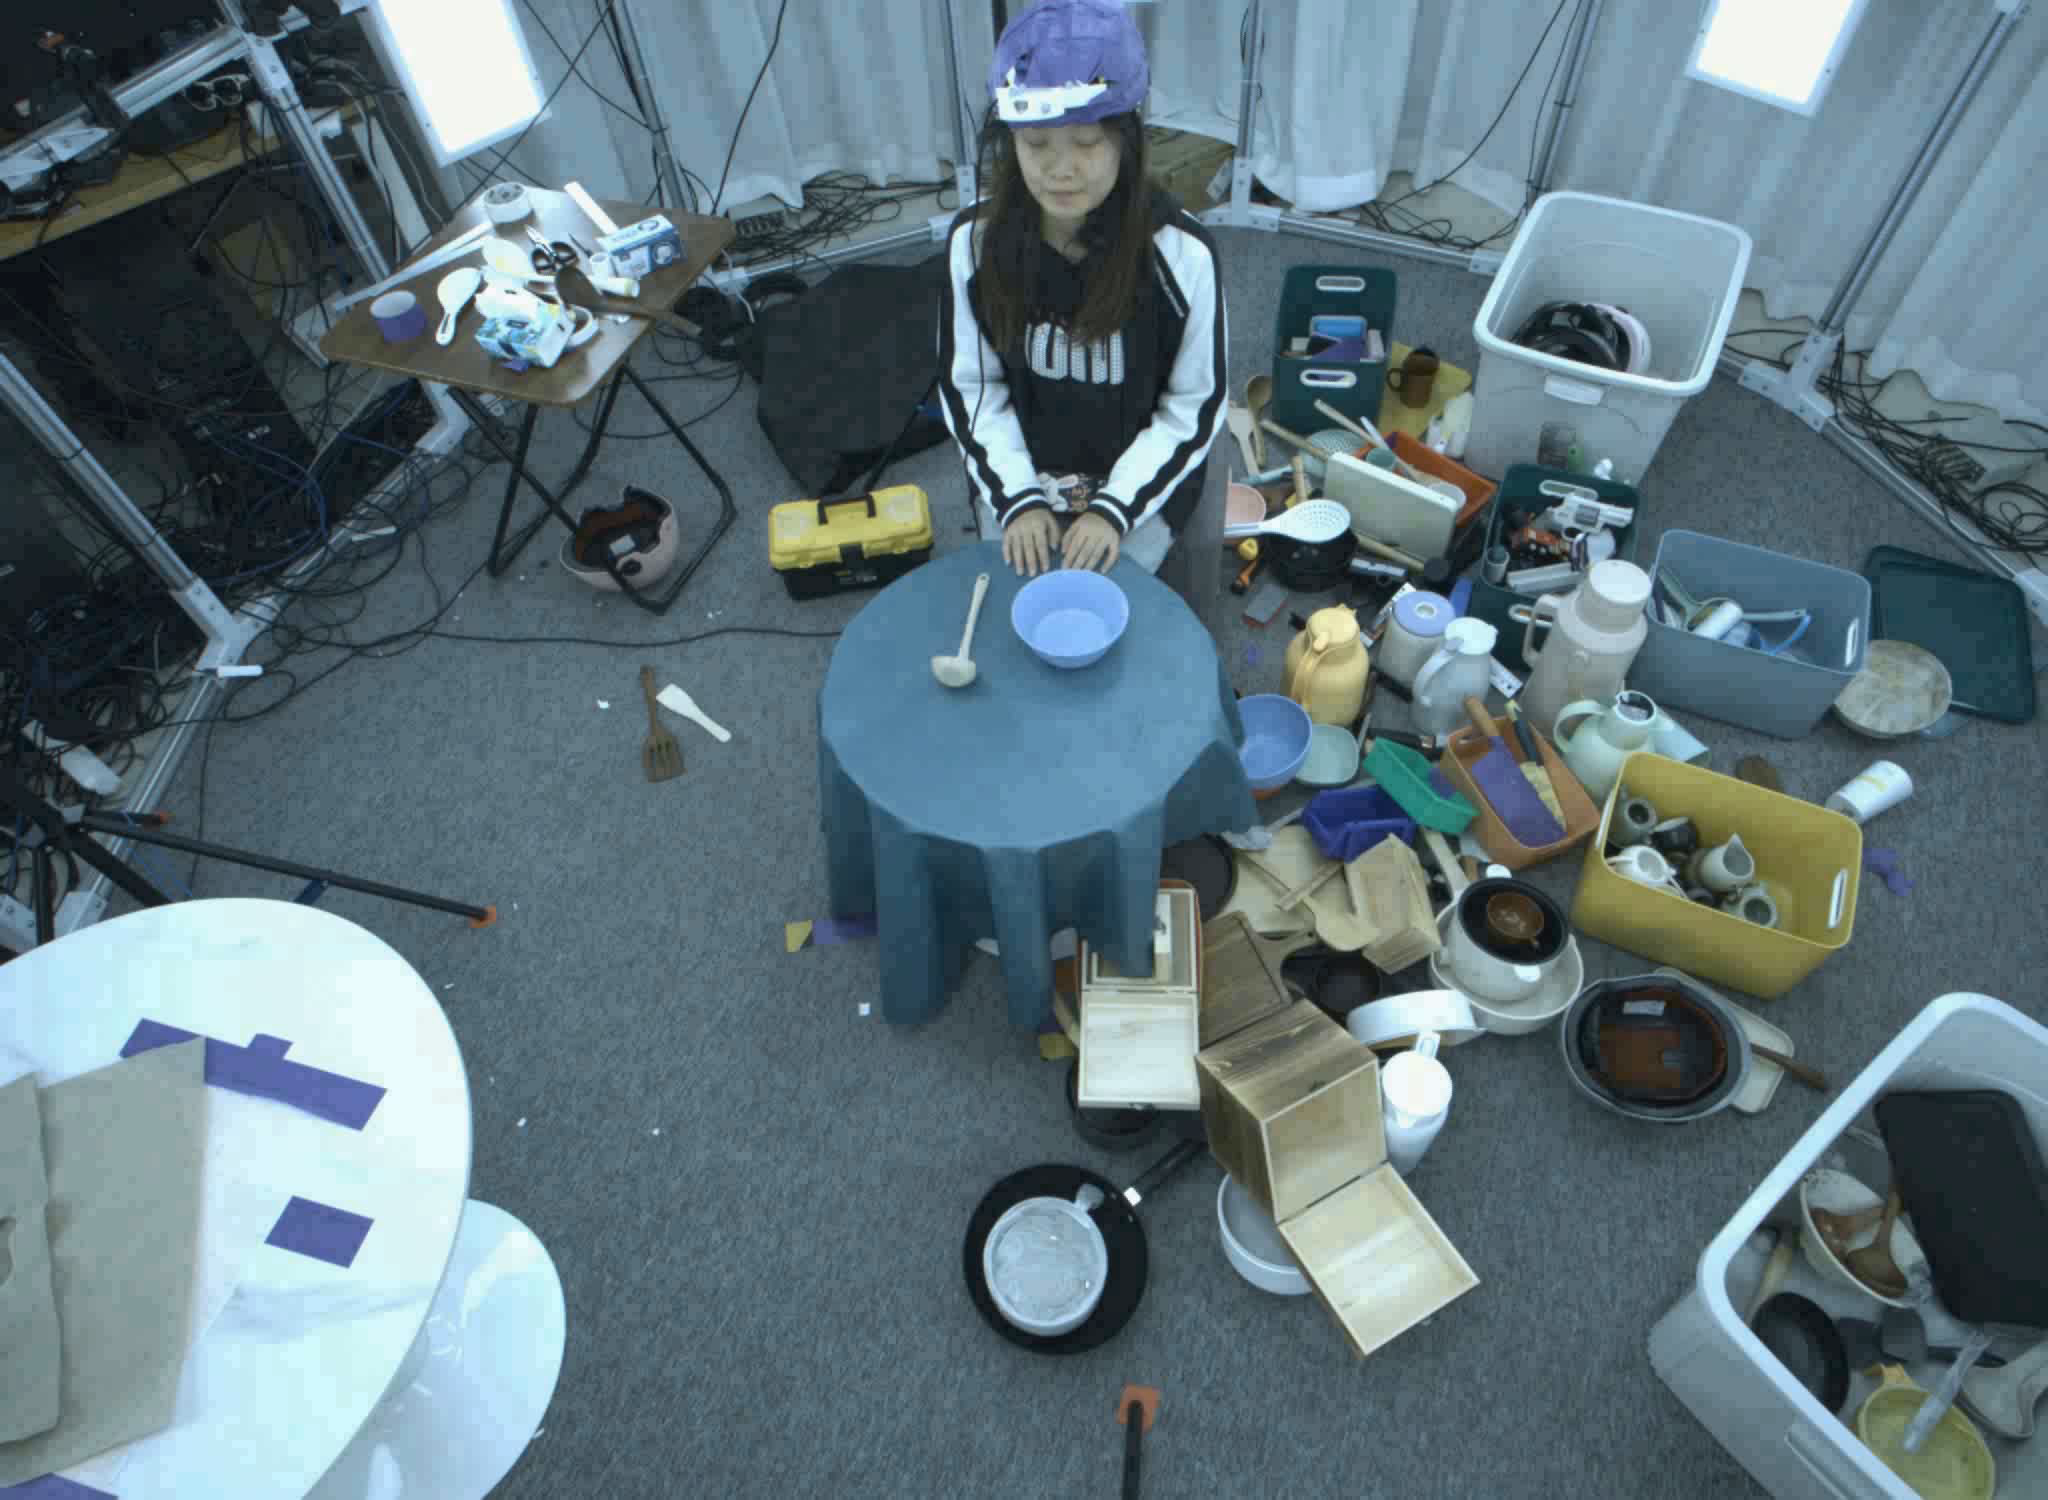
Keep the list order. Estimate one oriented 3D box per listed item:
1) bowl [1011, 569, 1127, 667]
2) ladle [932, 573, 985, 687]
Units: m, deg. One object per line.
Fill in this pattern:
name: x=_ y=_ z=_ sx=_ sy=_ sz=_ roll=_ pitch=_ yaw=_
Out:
bowl: x=0.069 y=-0.192 z=1.878 sx=0.176 sy=0.071 sz=0.174 roll=0 pitch=55 yaw=1
ladle: x=-0.089 y=-0.207 z=1.892 sx=0.072 sy=0.073 sz=0.252 roll=5 pitch=55 yaw=6
